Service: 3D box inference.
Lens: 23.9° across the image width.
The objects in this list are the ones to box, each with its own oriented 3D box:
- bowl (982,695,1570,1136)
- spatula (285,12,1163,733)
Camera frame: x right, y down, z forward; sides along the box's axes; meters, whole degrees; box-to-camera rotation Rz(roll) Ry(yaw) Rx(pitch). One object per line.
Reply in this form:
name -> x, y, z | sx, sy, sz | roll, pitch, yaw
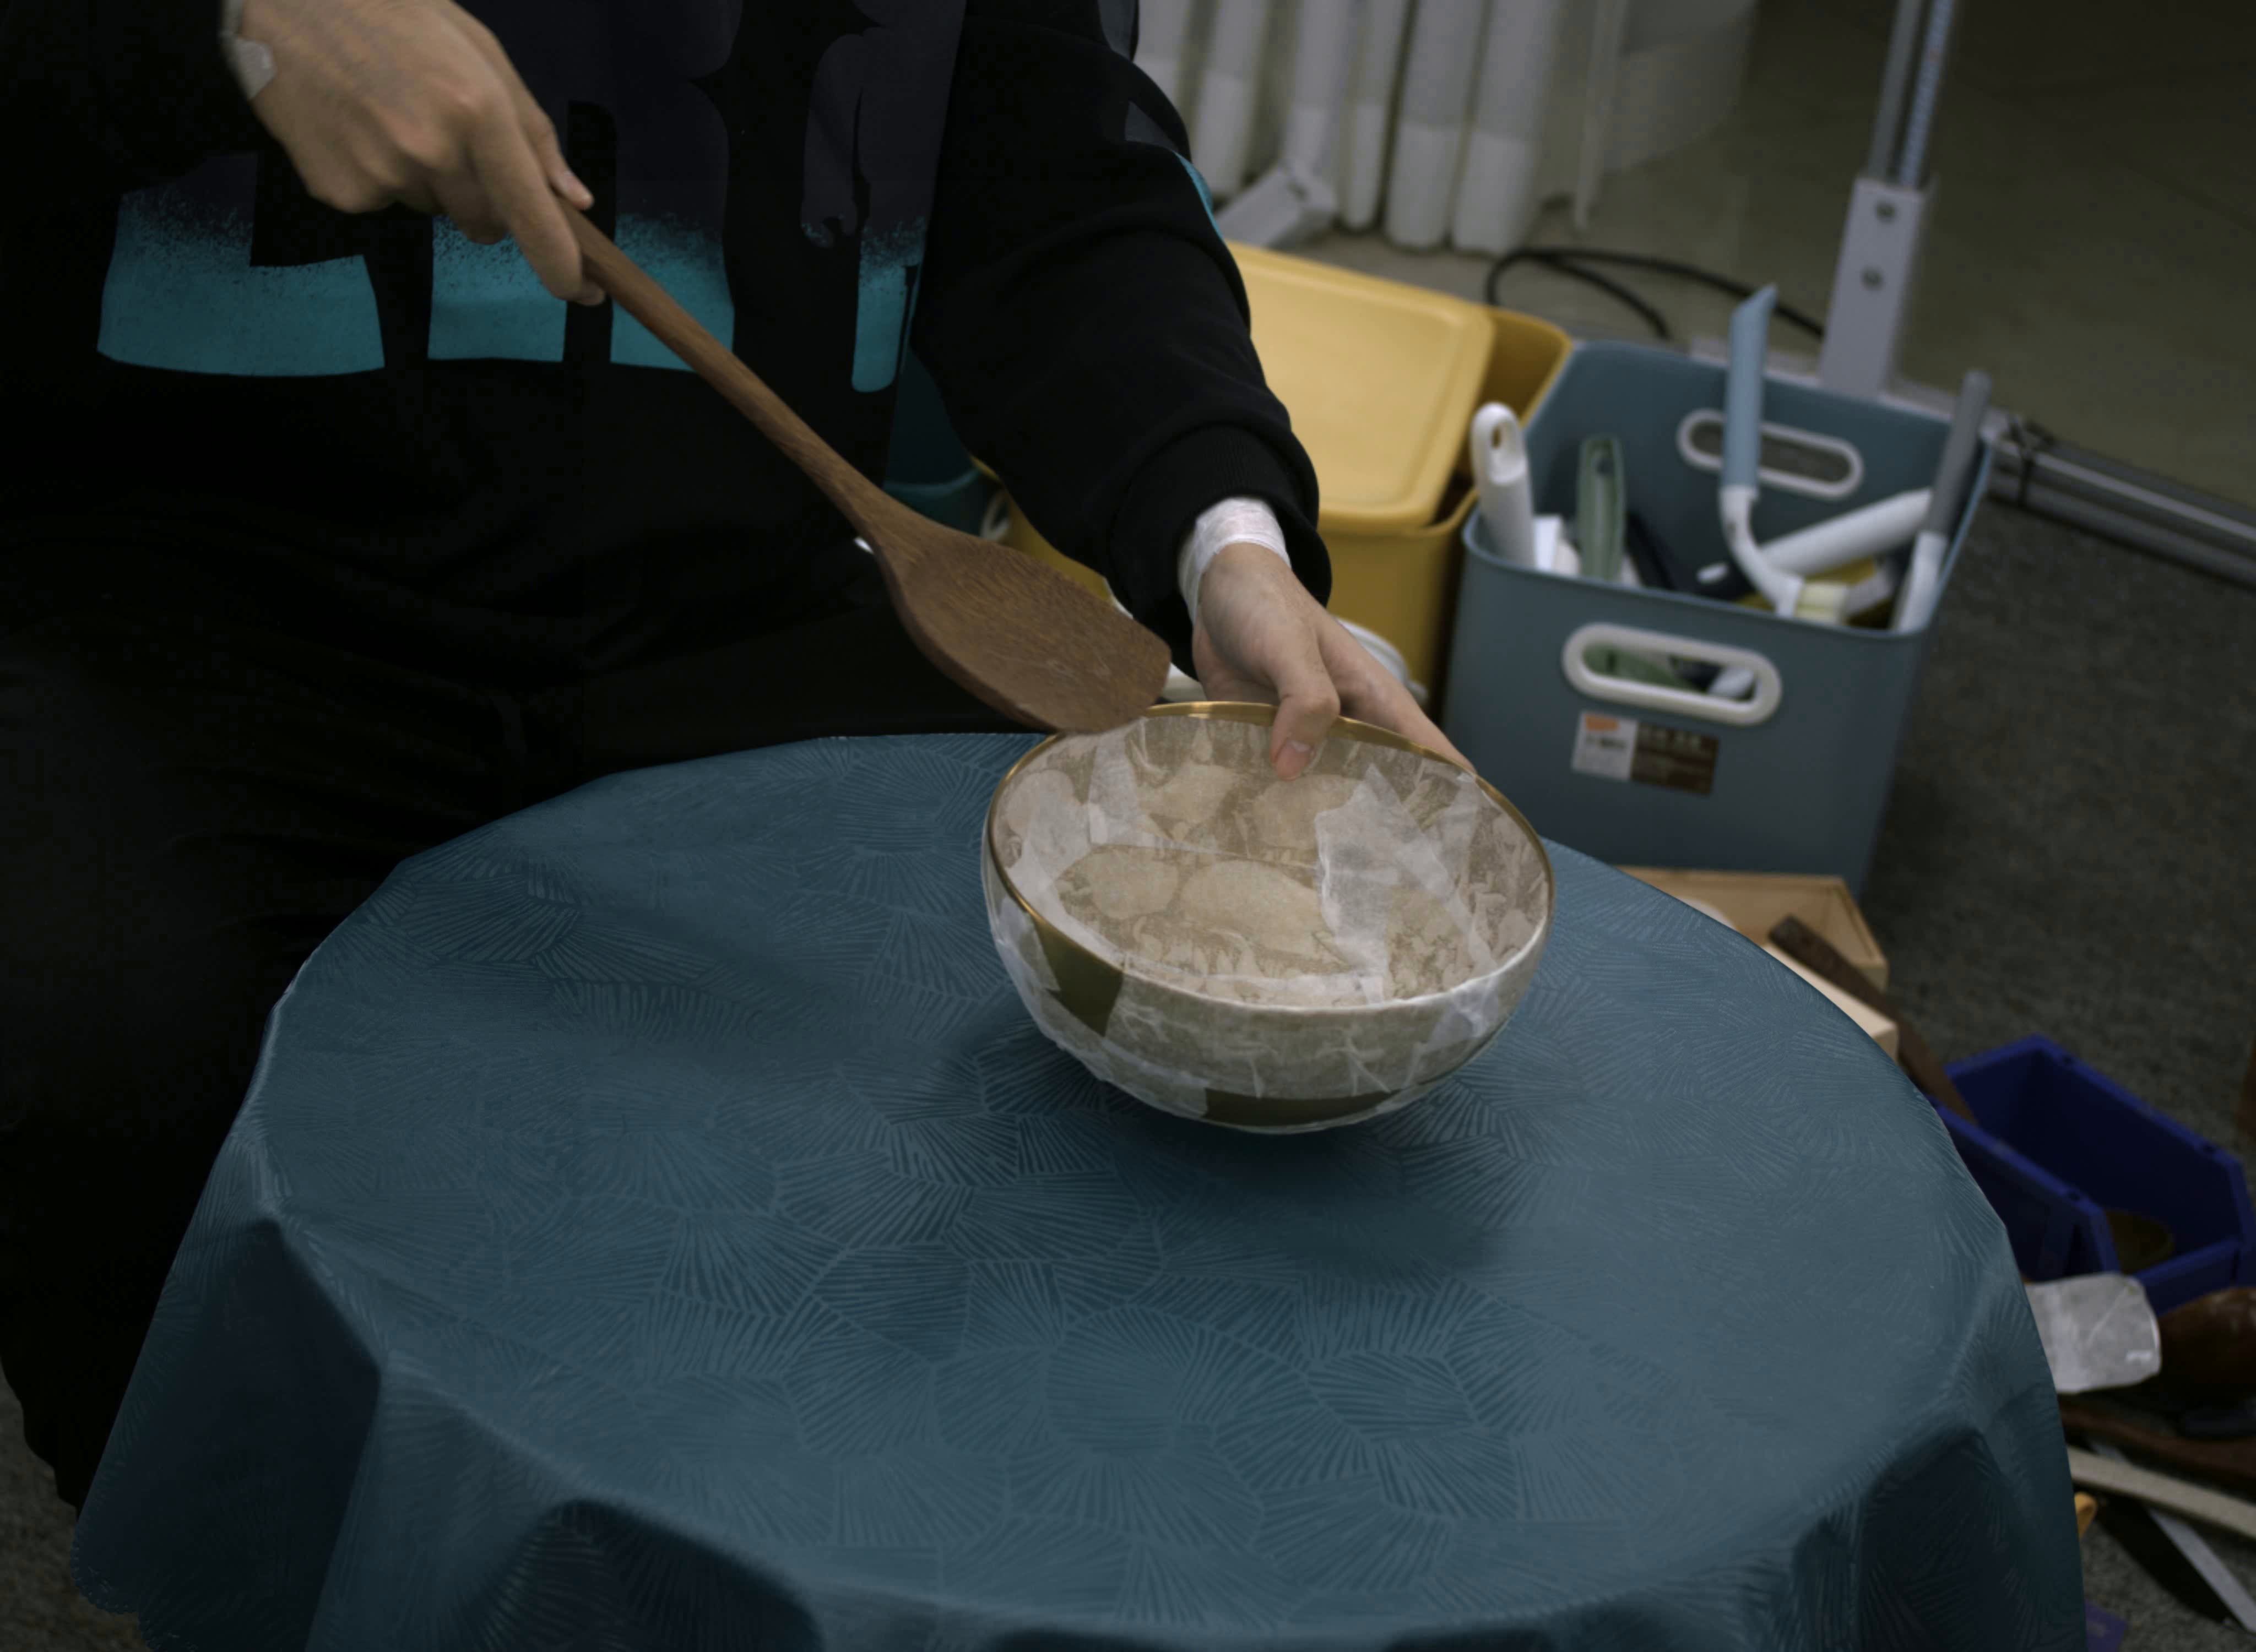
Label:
bowl -> 0.048, 0.044, 1.862 | 0.214, 0.094, 0.216 | 3, 30, -2
spatula -> -0.145, -0.159, 1.812 | 0.387, 0.016, 0.096 | 41, 33, 11
